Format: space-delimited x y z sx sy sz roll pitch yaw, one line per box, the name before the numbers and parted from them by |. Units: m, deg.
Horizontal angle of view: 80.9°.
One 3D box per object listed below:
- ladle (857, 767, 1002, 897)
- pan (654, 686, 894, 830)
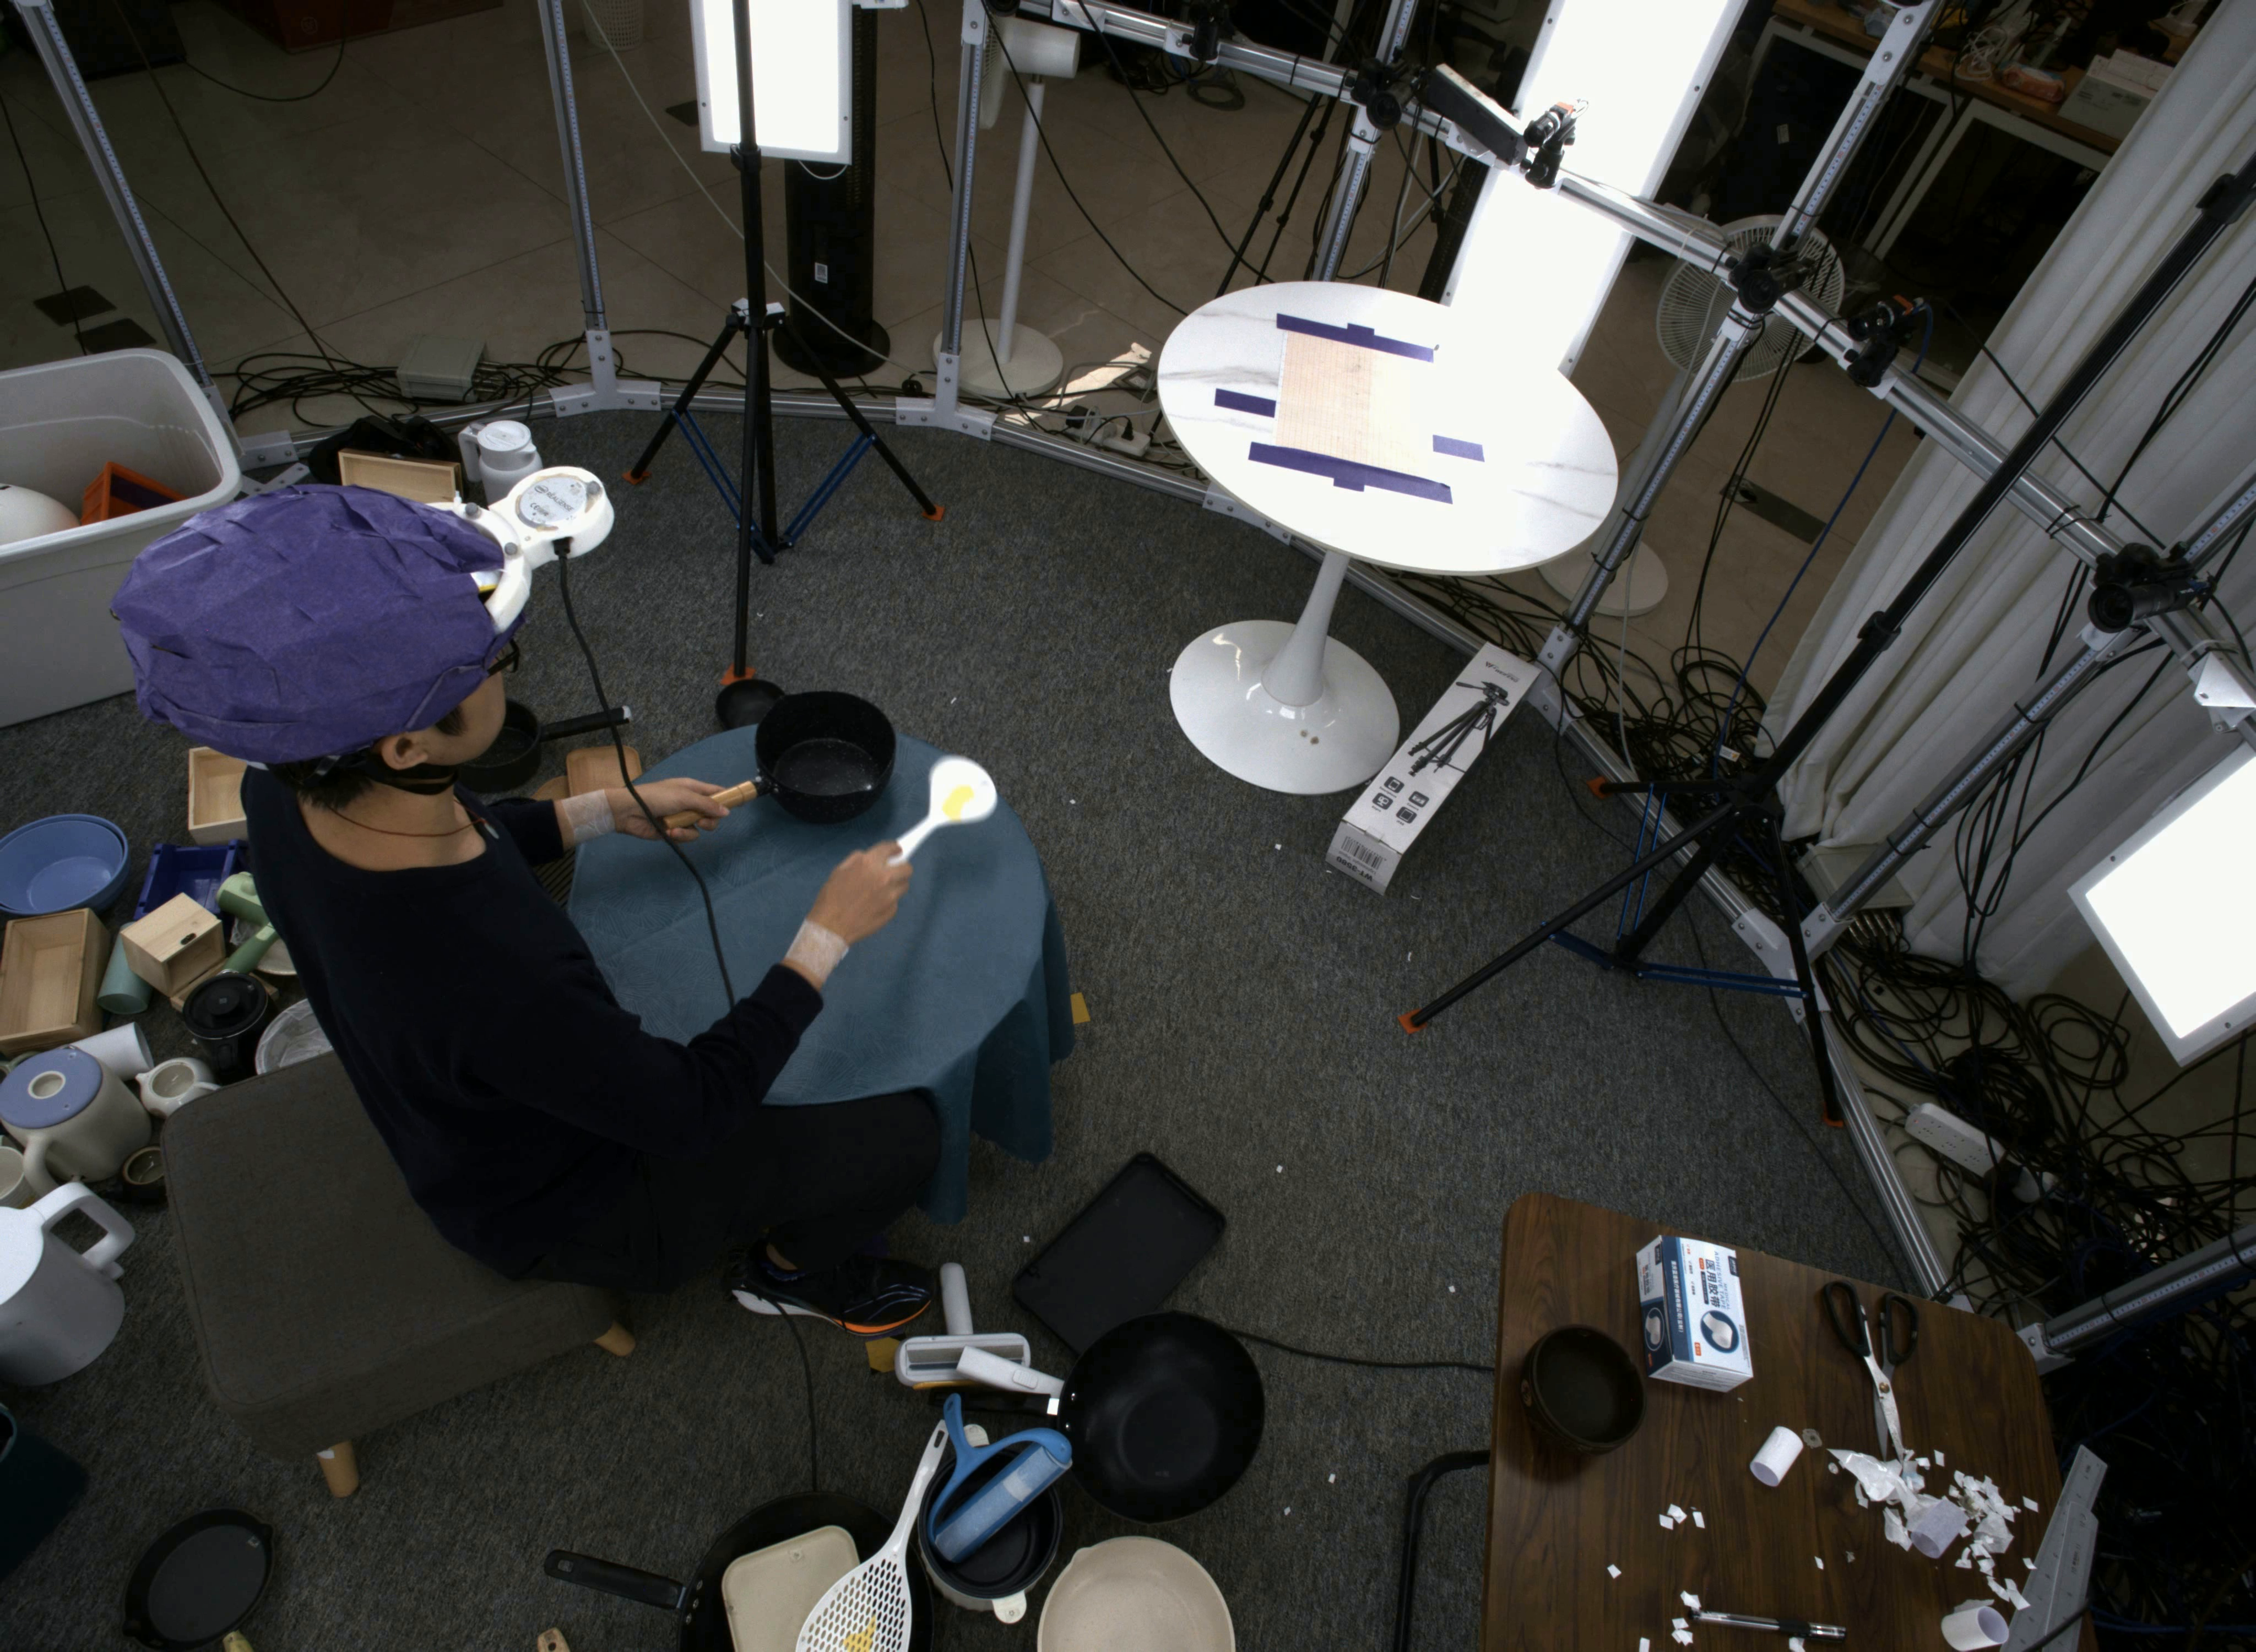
ladle | -0.240 0.007 1.584 0.091 0.069 0.292 50 24 -5
pan | -0.458 -0.057 1.677 0.203 0.110 0.343 42 53 16
